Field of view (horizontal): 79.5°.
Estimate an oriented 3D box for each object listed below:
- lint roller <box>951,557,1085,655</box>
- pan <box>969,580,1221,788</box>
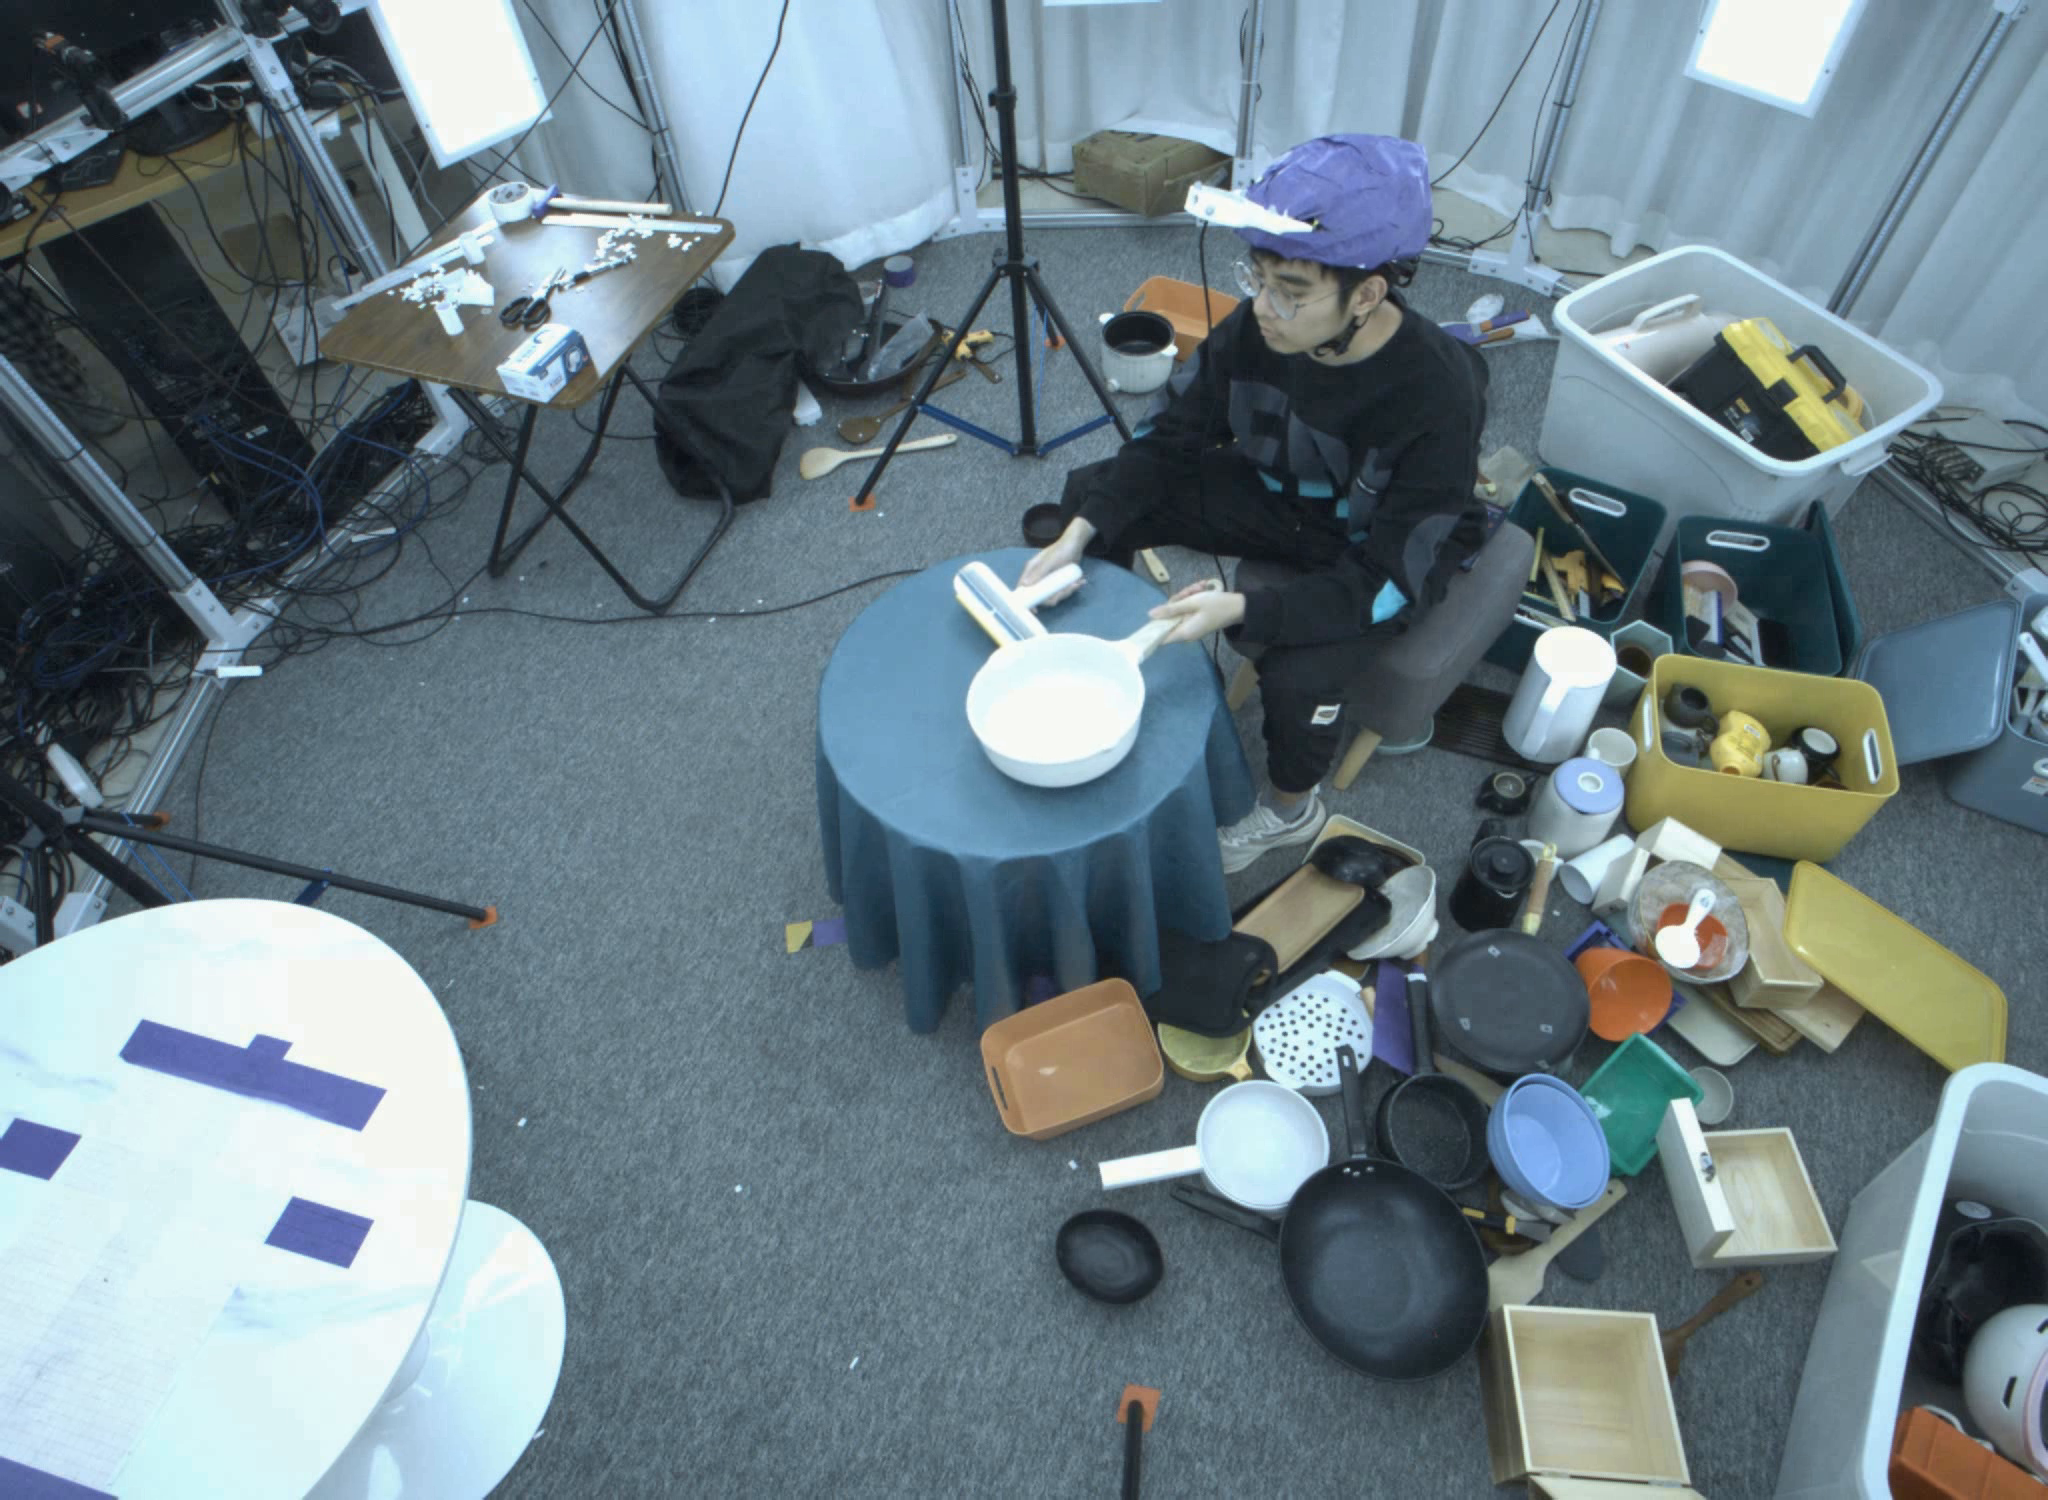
[{"bbox_3d":[0.009,-0.244,1.903,0.193,0.075,0.189,-34,65,-10],"label":"lint roller"},{"bbox_3d":[0.124,-0.102,1.777,0.438,0.103,0.257,-33,51,-20],"label":"pan"}]
